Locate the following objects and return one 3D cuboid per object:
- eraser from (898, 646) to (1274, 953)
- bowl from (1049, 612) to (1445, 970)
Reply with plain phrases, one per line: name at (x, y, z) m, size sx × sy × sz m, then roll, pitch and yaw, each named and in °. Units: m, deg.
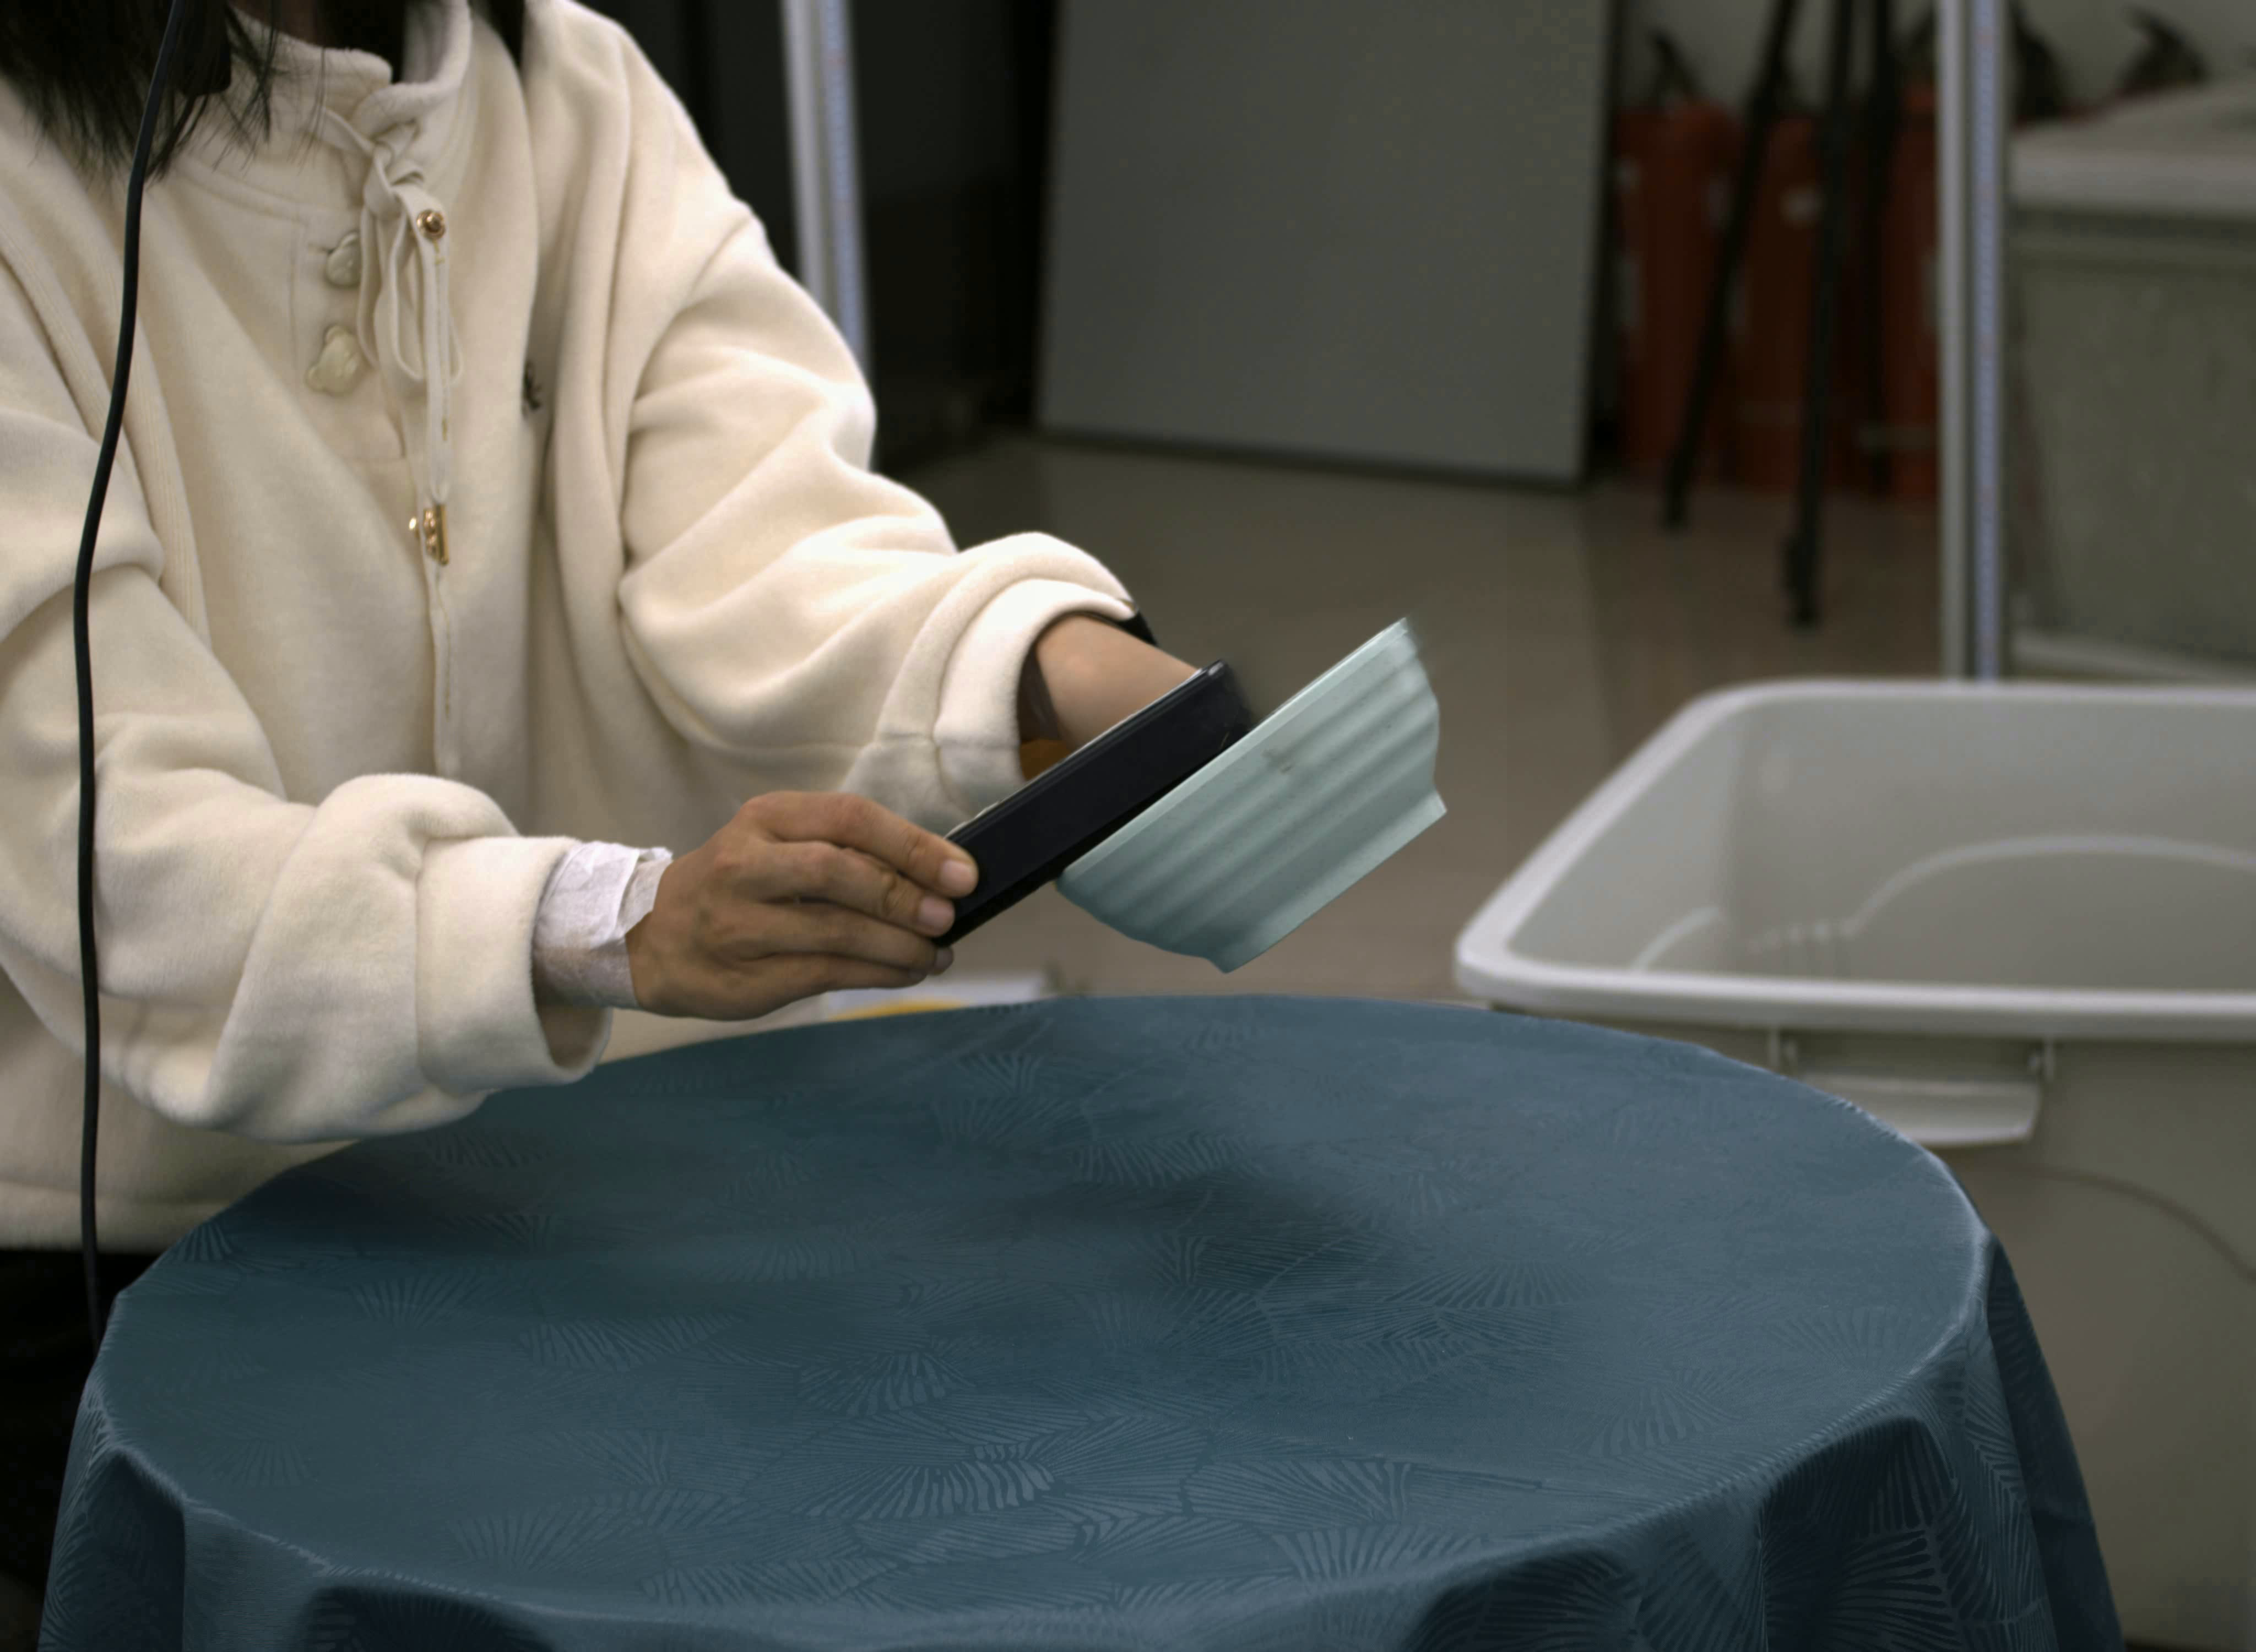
eraser at (-0.012, -0.009, 1.678) m, size 0.126 × 0.030 × 0.053 m, roll -36°, pitch 0°, yaw 14°
bowl at (0.047, -0.003, 1.684) m, size 0.150 × 0.059 × 0.151 m, roll -35°, pitch 0°, yaw -1°
